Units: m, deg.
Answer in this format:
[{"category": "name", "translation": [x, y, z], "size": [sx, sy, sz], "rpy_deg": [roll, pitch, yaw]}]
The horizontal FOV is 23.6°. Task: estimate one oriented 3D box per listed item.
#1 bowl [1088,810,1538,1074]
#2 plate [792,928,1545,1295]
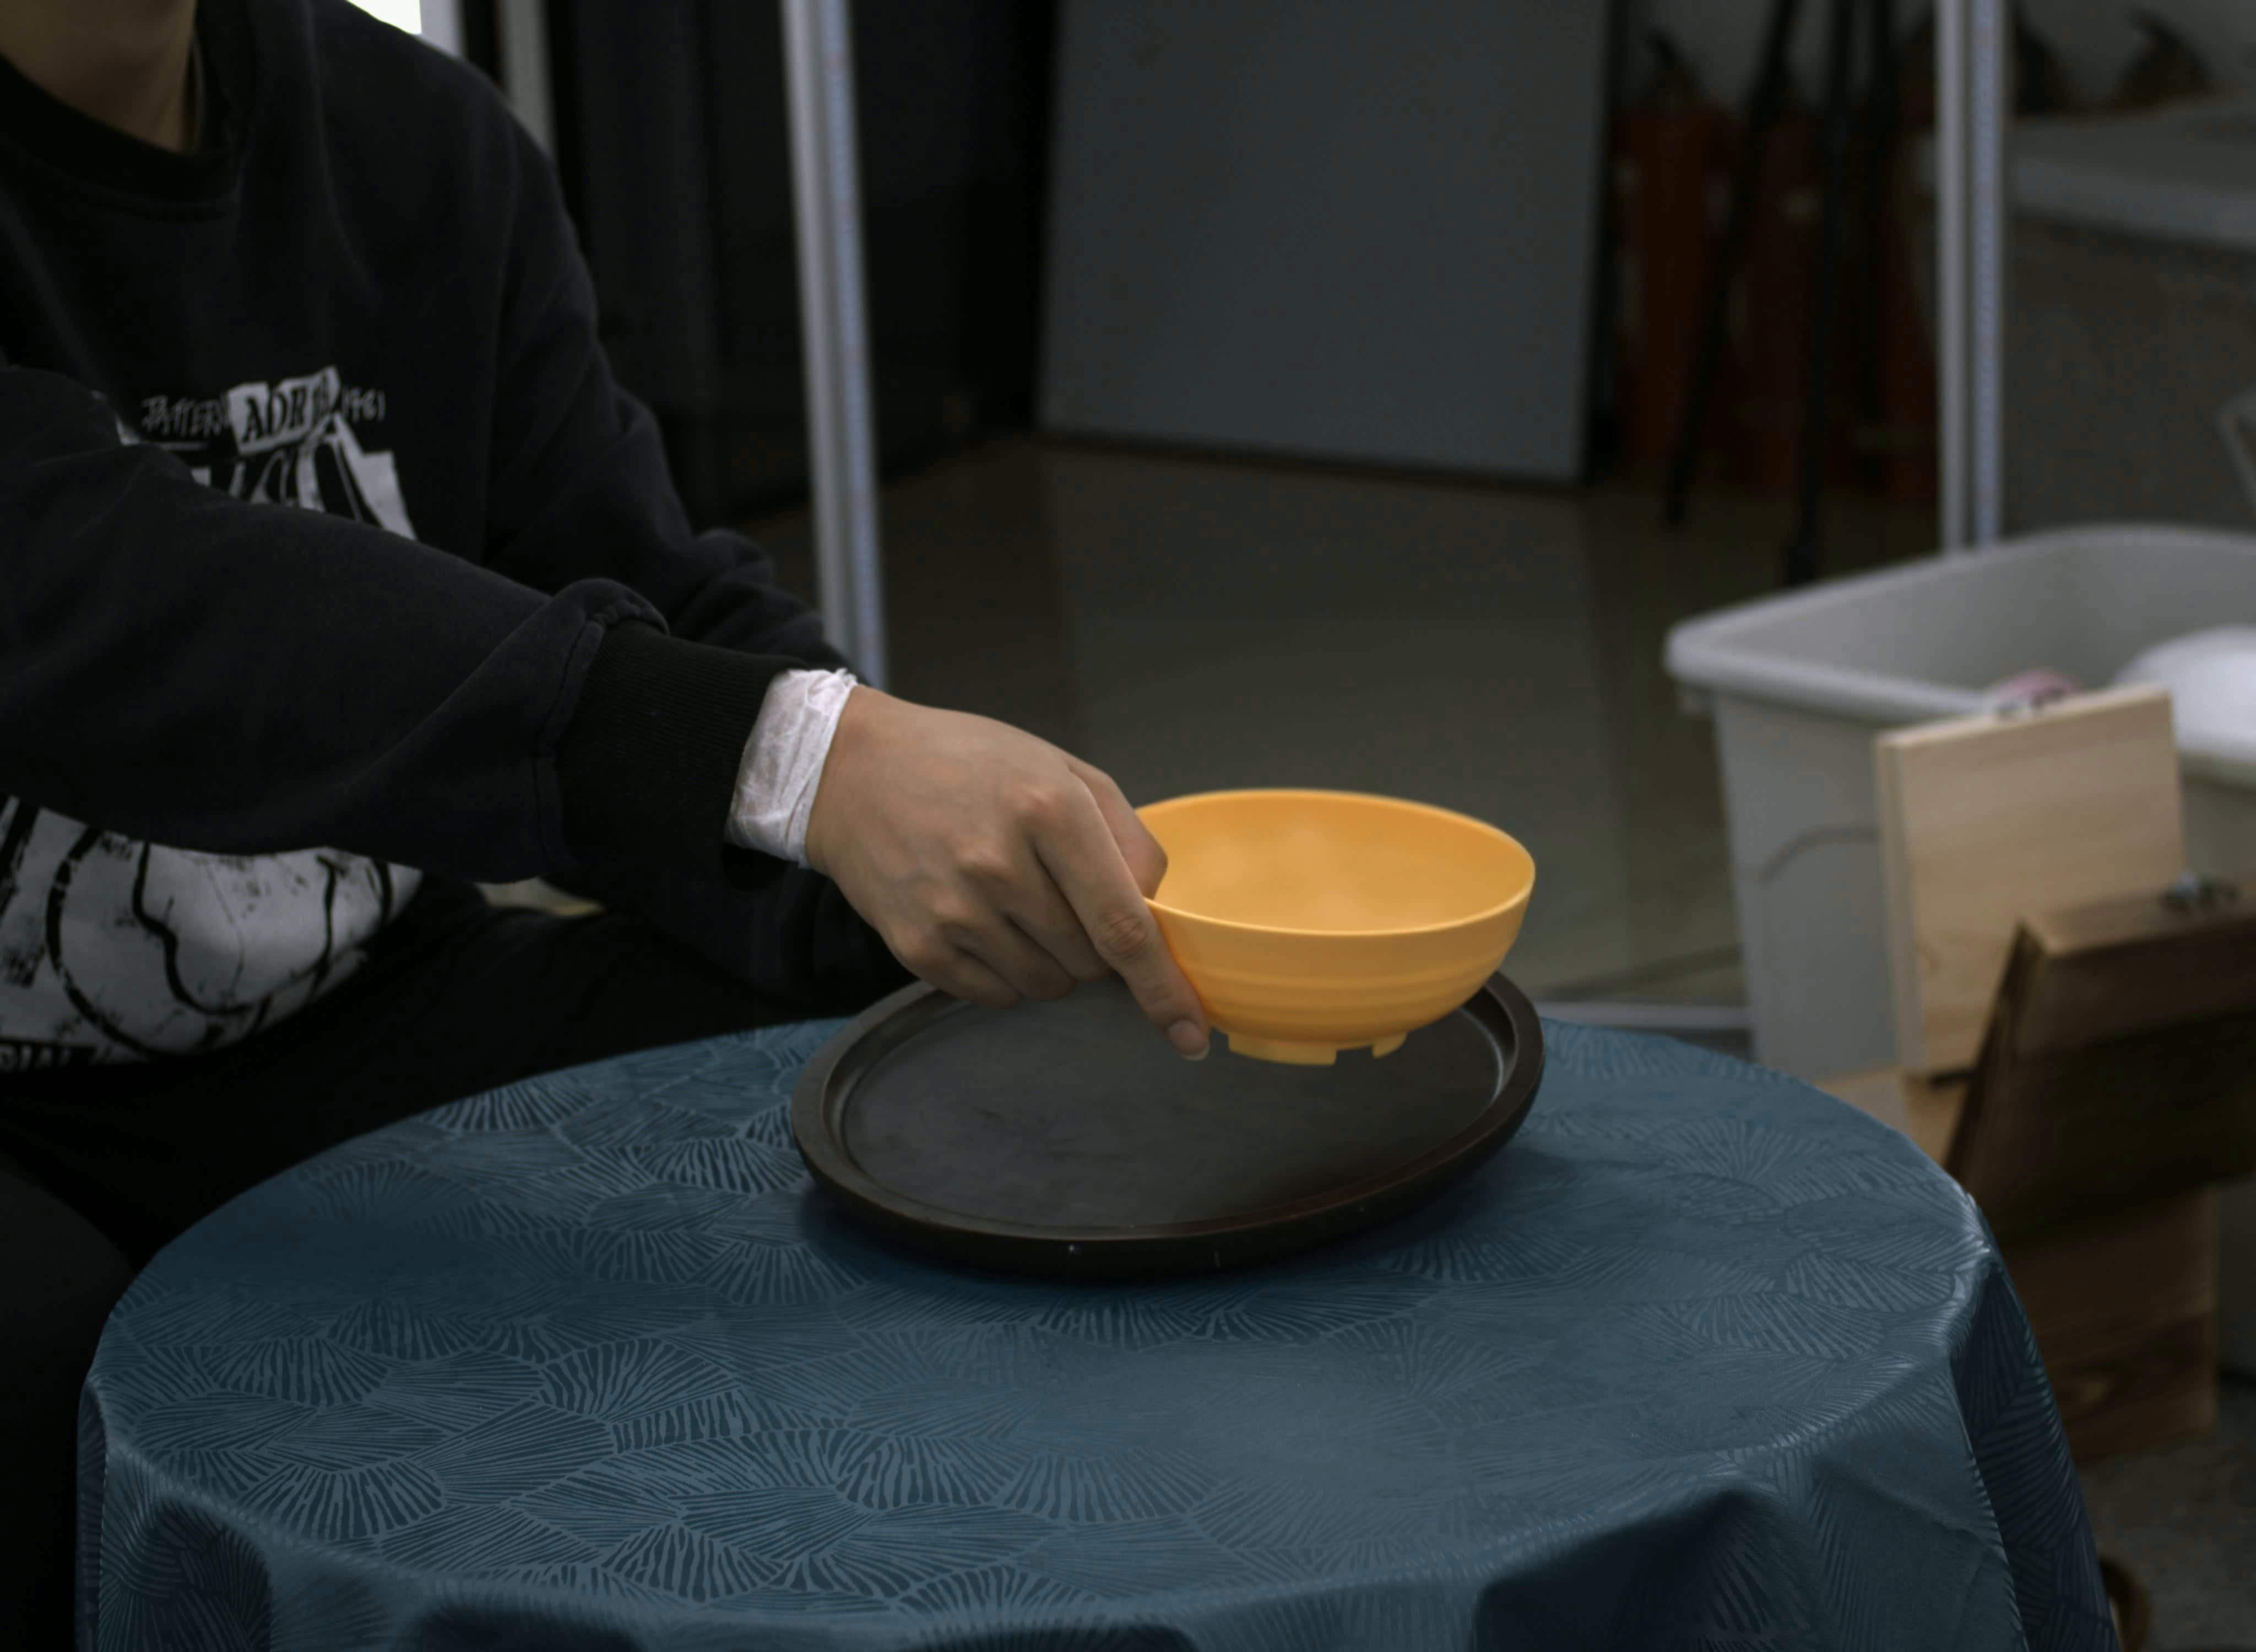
[{"category": "bowl", "translation": [0.058, 0.040, 1.705], "size": [0.143, 0.061, 0.145], "rpy_deg": [0, 15, -1]}, {"category": "plate", "translation": [0.014, 0.090, 1.782], "size": [0.252, 0.029, 0.255], "rpy_deg": [-8, 22, 2]}]
